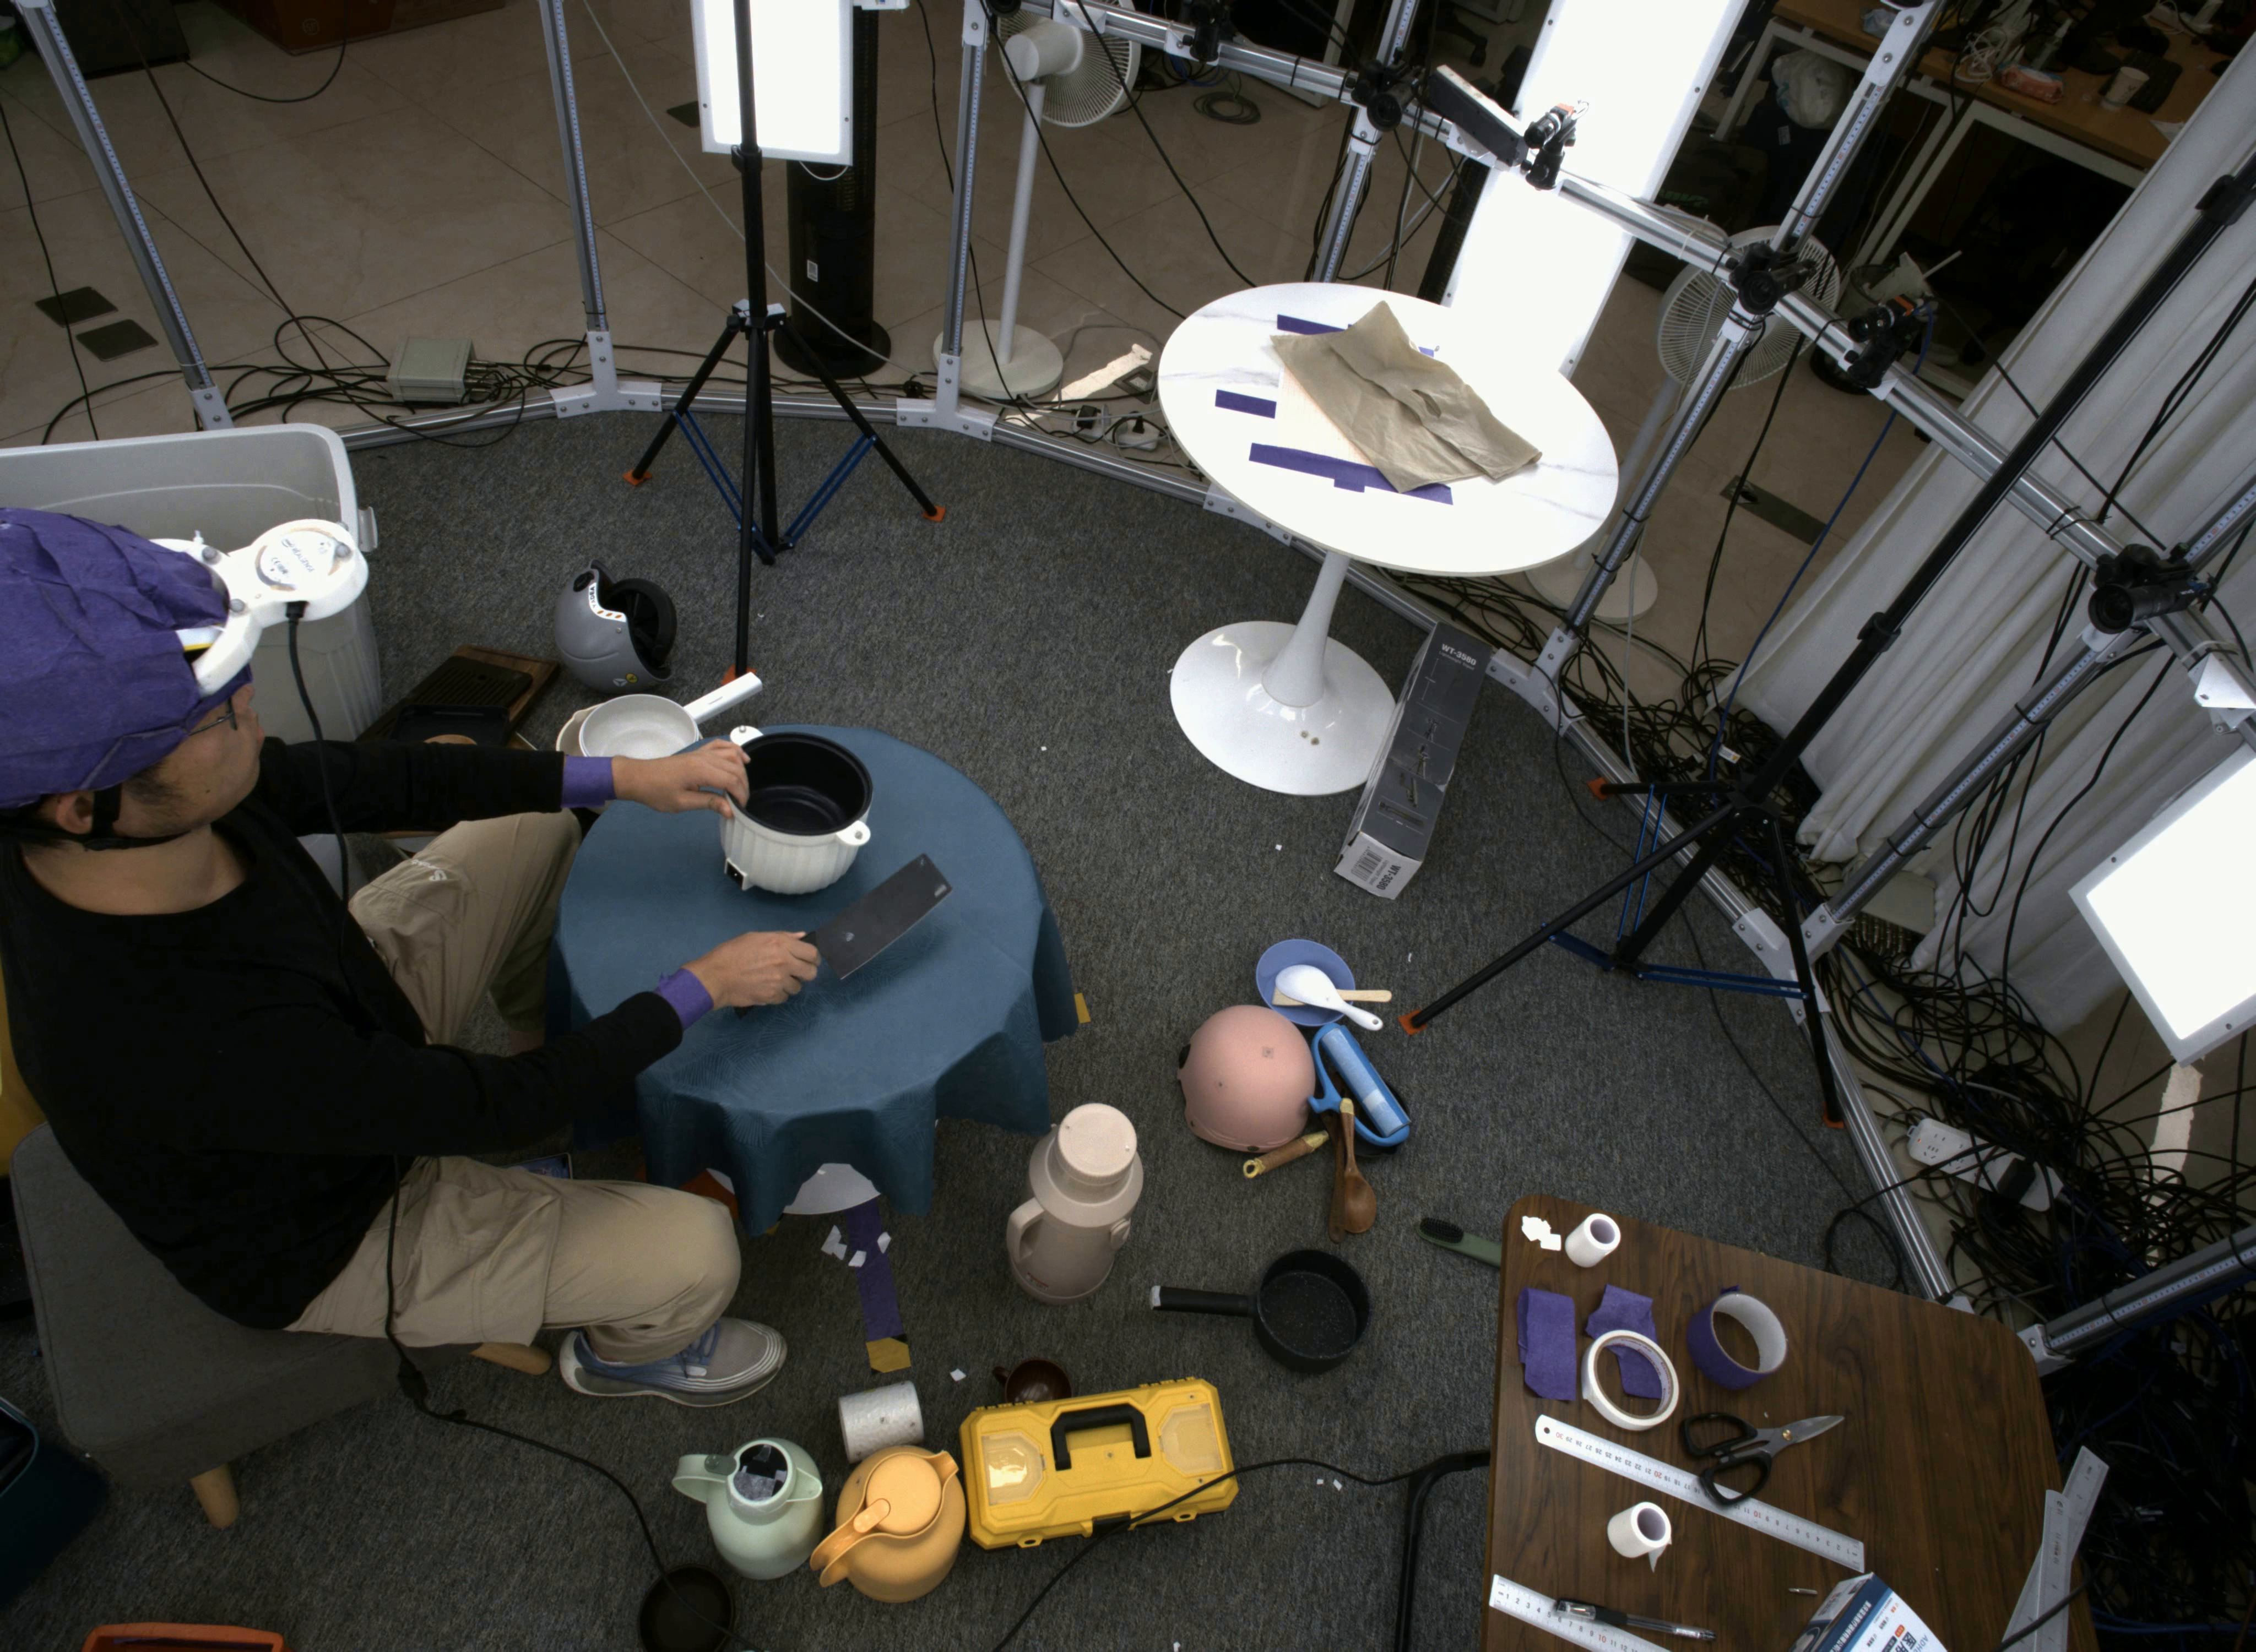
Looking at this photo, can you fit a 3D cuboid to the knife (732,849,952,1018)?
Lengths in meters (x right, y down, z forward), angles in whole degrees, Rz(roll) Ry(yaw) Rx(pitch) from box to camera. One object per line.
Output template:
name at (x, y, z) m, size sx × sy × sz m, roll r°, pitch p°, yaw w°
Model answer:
knife at (-0.344, 0.133, 1.561) m, size 0.303 × 0.021 × 0.081 m, roll -34°, pitch 90°, yaw -25°

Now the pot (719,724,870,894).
pot at (-0.421, -0.015, 1.635) m, size 0.235 × 0.145 × 0.191 m, roll 39°, pitch 46°, yaw 15°
